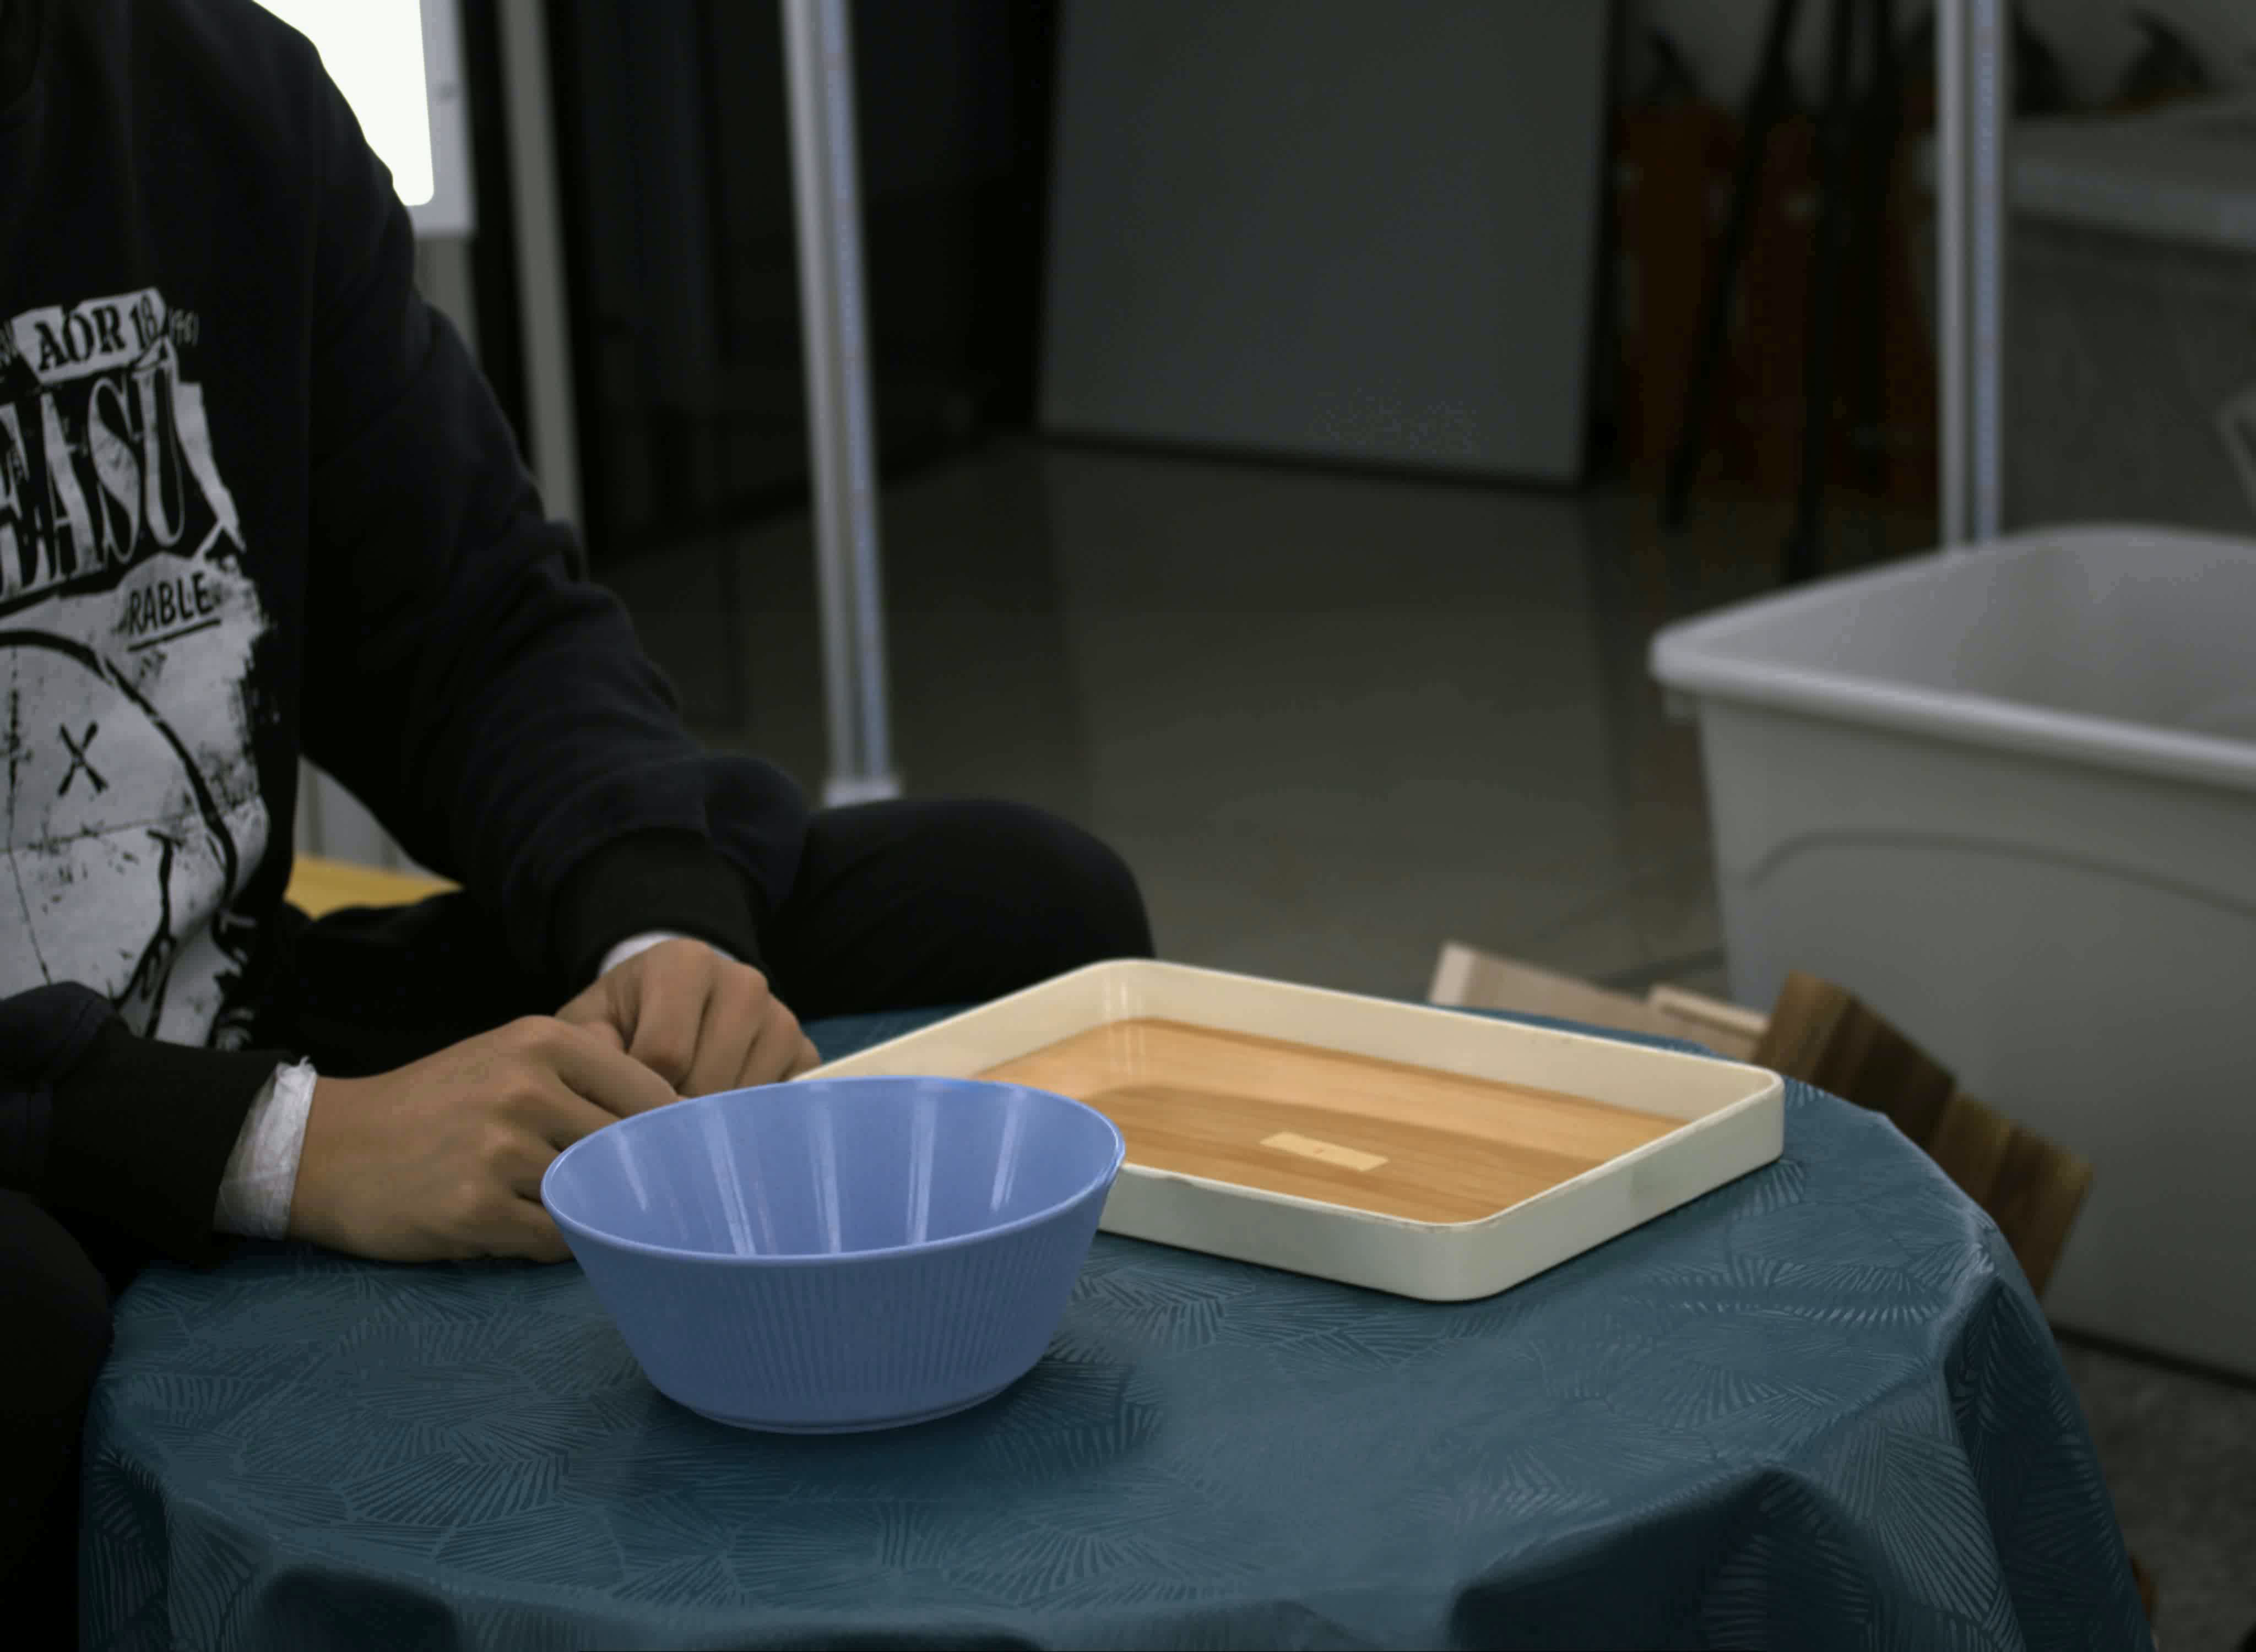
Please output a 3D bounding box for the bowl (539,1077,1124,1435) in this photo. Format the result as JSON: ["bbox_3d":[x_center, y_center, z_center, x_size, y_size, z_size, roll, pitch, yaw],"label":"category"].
[{"bbox_3d":[-0.086,0.130,1.610,0.174,0.071,0.176,-3,14,0],"label":"bowl"}]

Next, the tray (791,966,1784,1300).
[{"bbox_3d":[0.050,0.099,1.794,0.303,0.028,0.188,8,18,41],"label":"tray"}]
